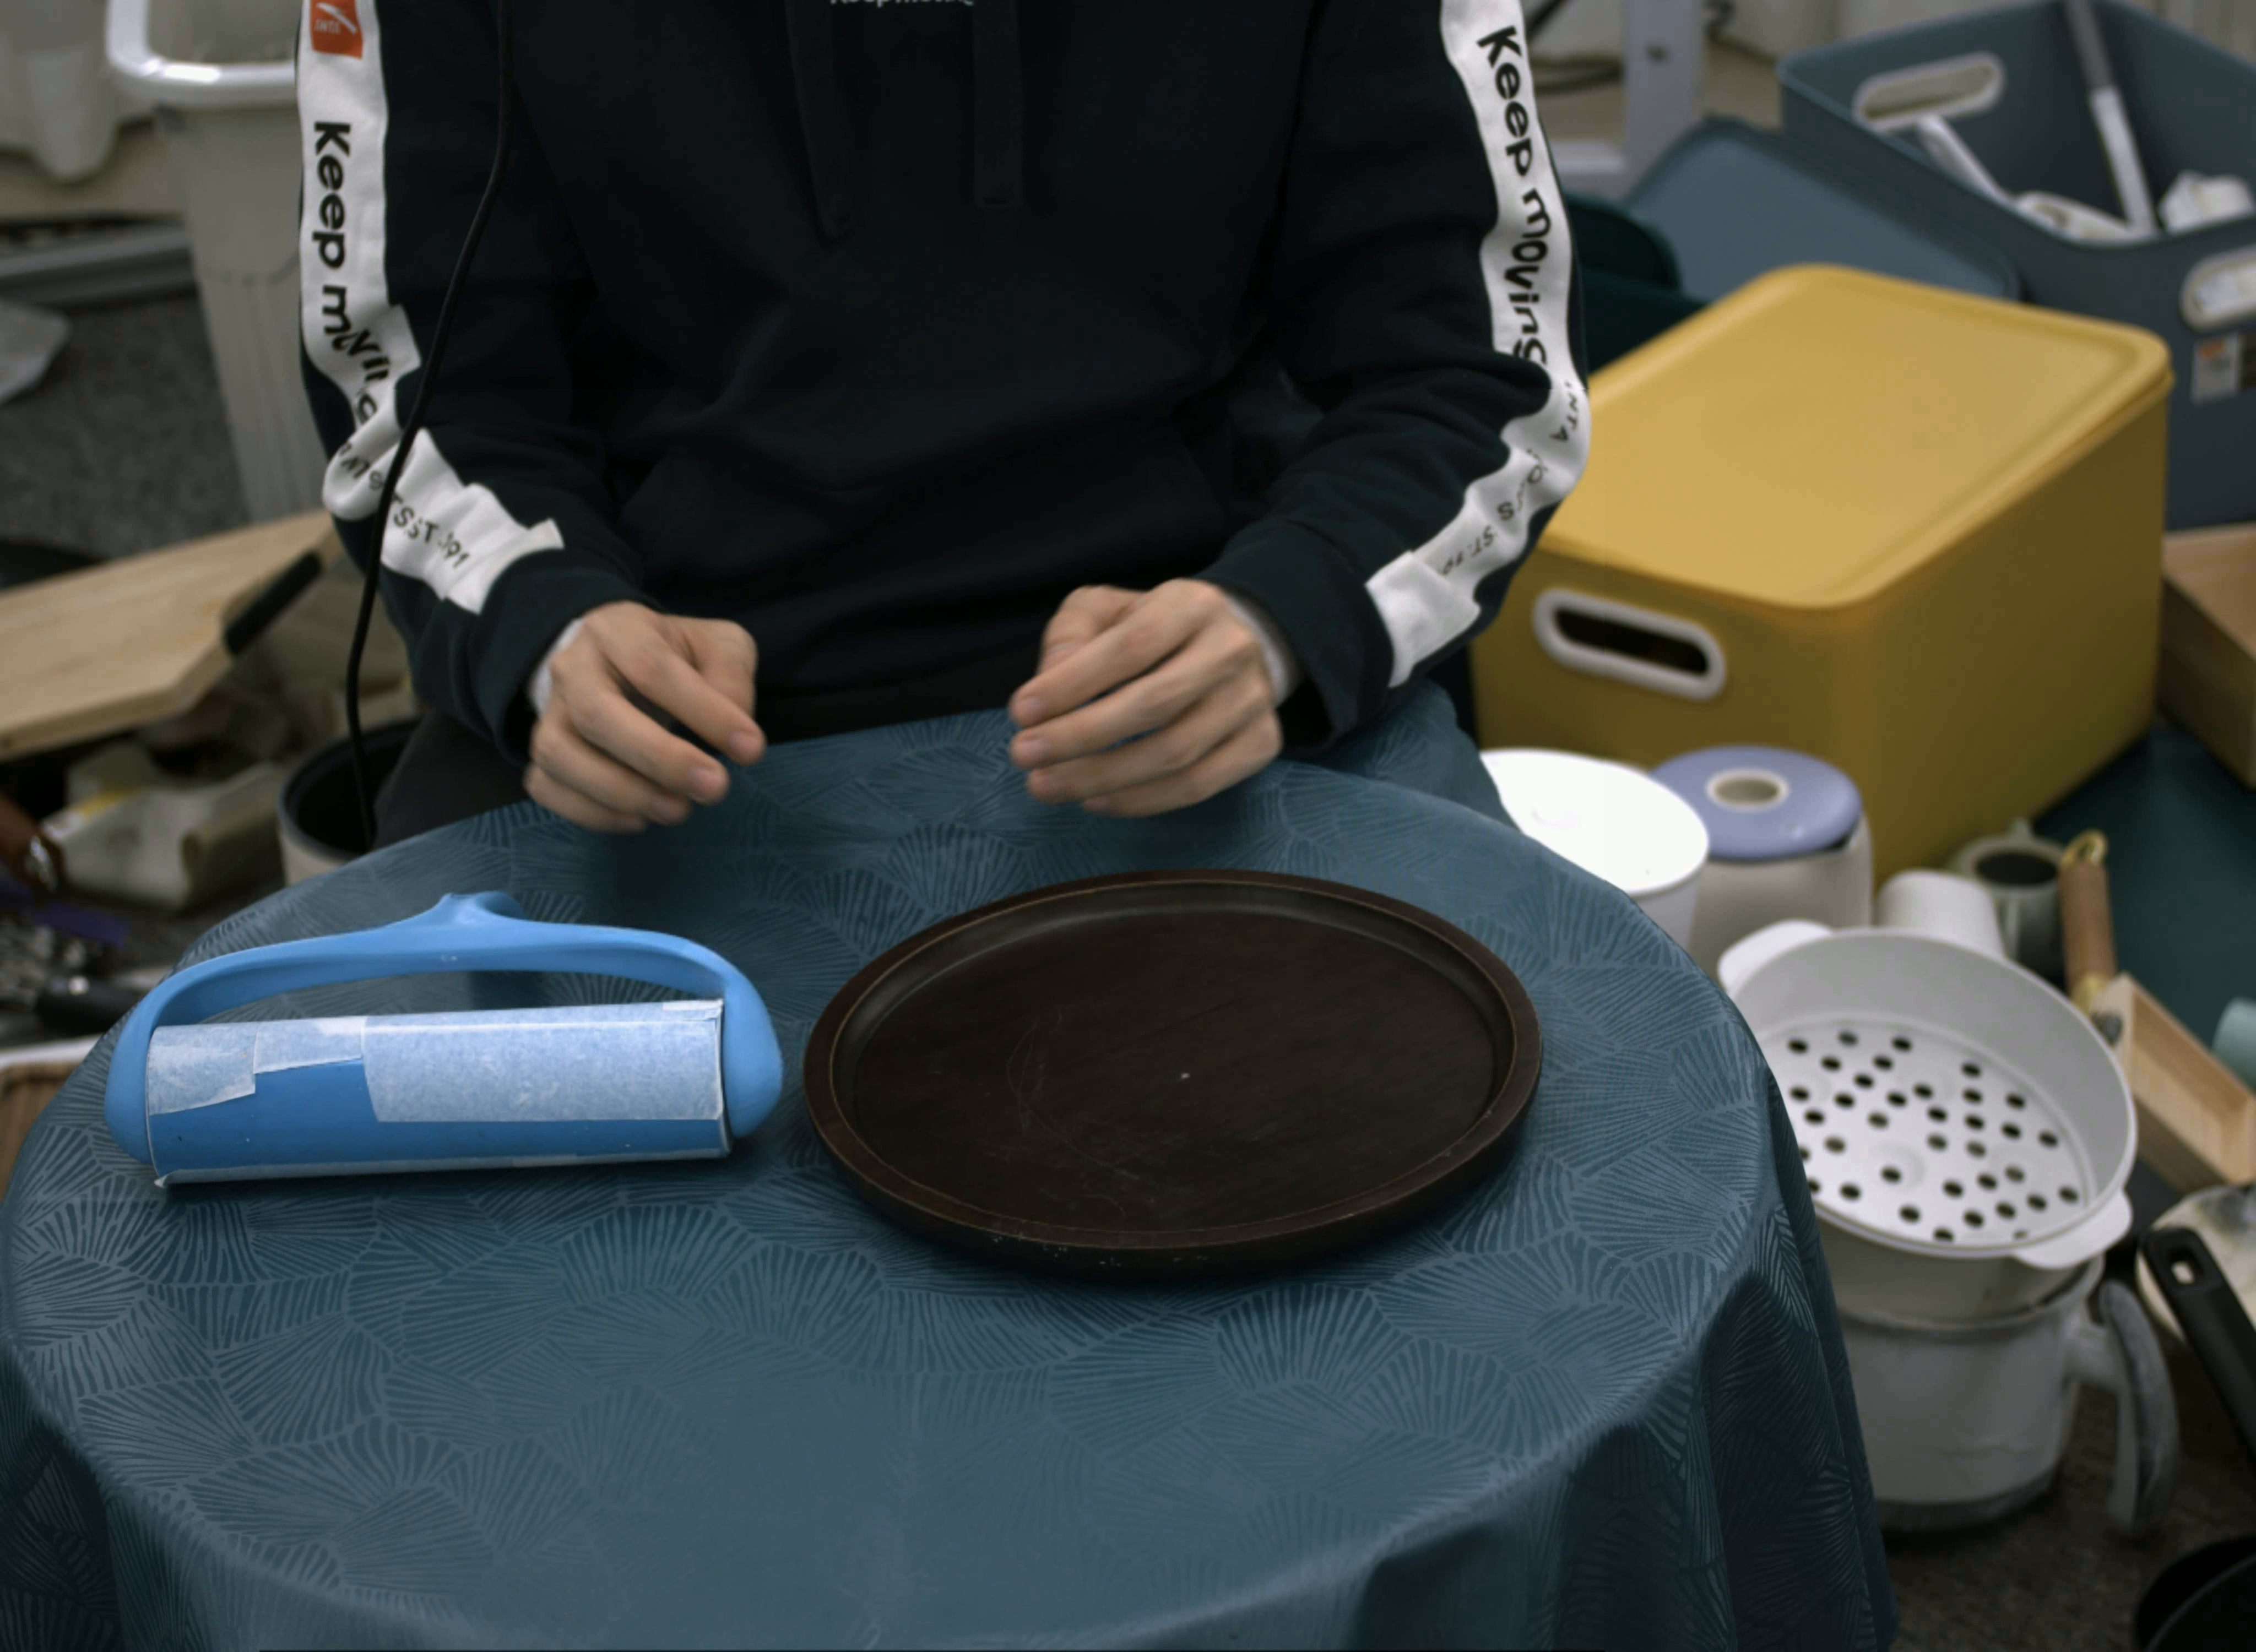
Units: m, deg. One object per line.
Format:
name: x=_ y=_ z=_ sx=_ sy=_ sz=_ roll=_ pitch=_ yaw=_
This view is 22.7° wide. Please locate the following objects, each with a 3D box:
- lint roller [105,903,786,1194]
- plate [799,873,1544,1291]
lint roller: x=-0.232 y=0.062 z=1.937 sx=0.228 sy=0.067 sz=0.183 roll=-5 pitch=29 yaw=-1
plate: x=0.015 y=0.085 z=1.905 sx=0.253 sy=0.029 sz=0.259 roll=-2 pitch=29 yaw=2
